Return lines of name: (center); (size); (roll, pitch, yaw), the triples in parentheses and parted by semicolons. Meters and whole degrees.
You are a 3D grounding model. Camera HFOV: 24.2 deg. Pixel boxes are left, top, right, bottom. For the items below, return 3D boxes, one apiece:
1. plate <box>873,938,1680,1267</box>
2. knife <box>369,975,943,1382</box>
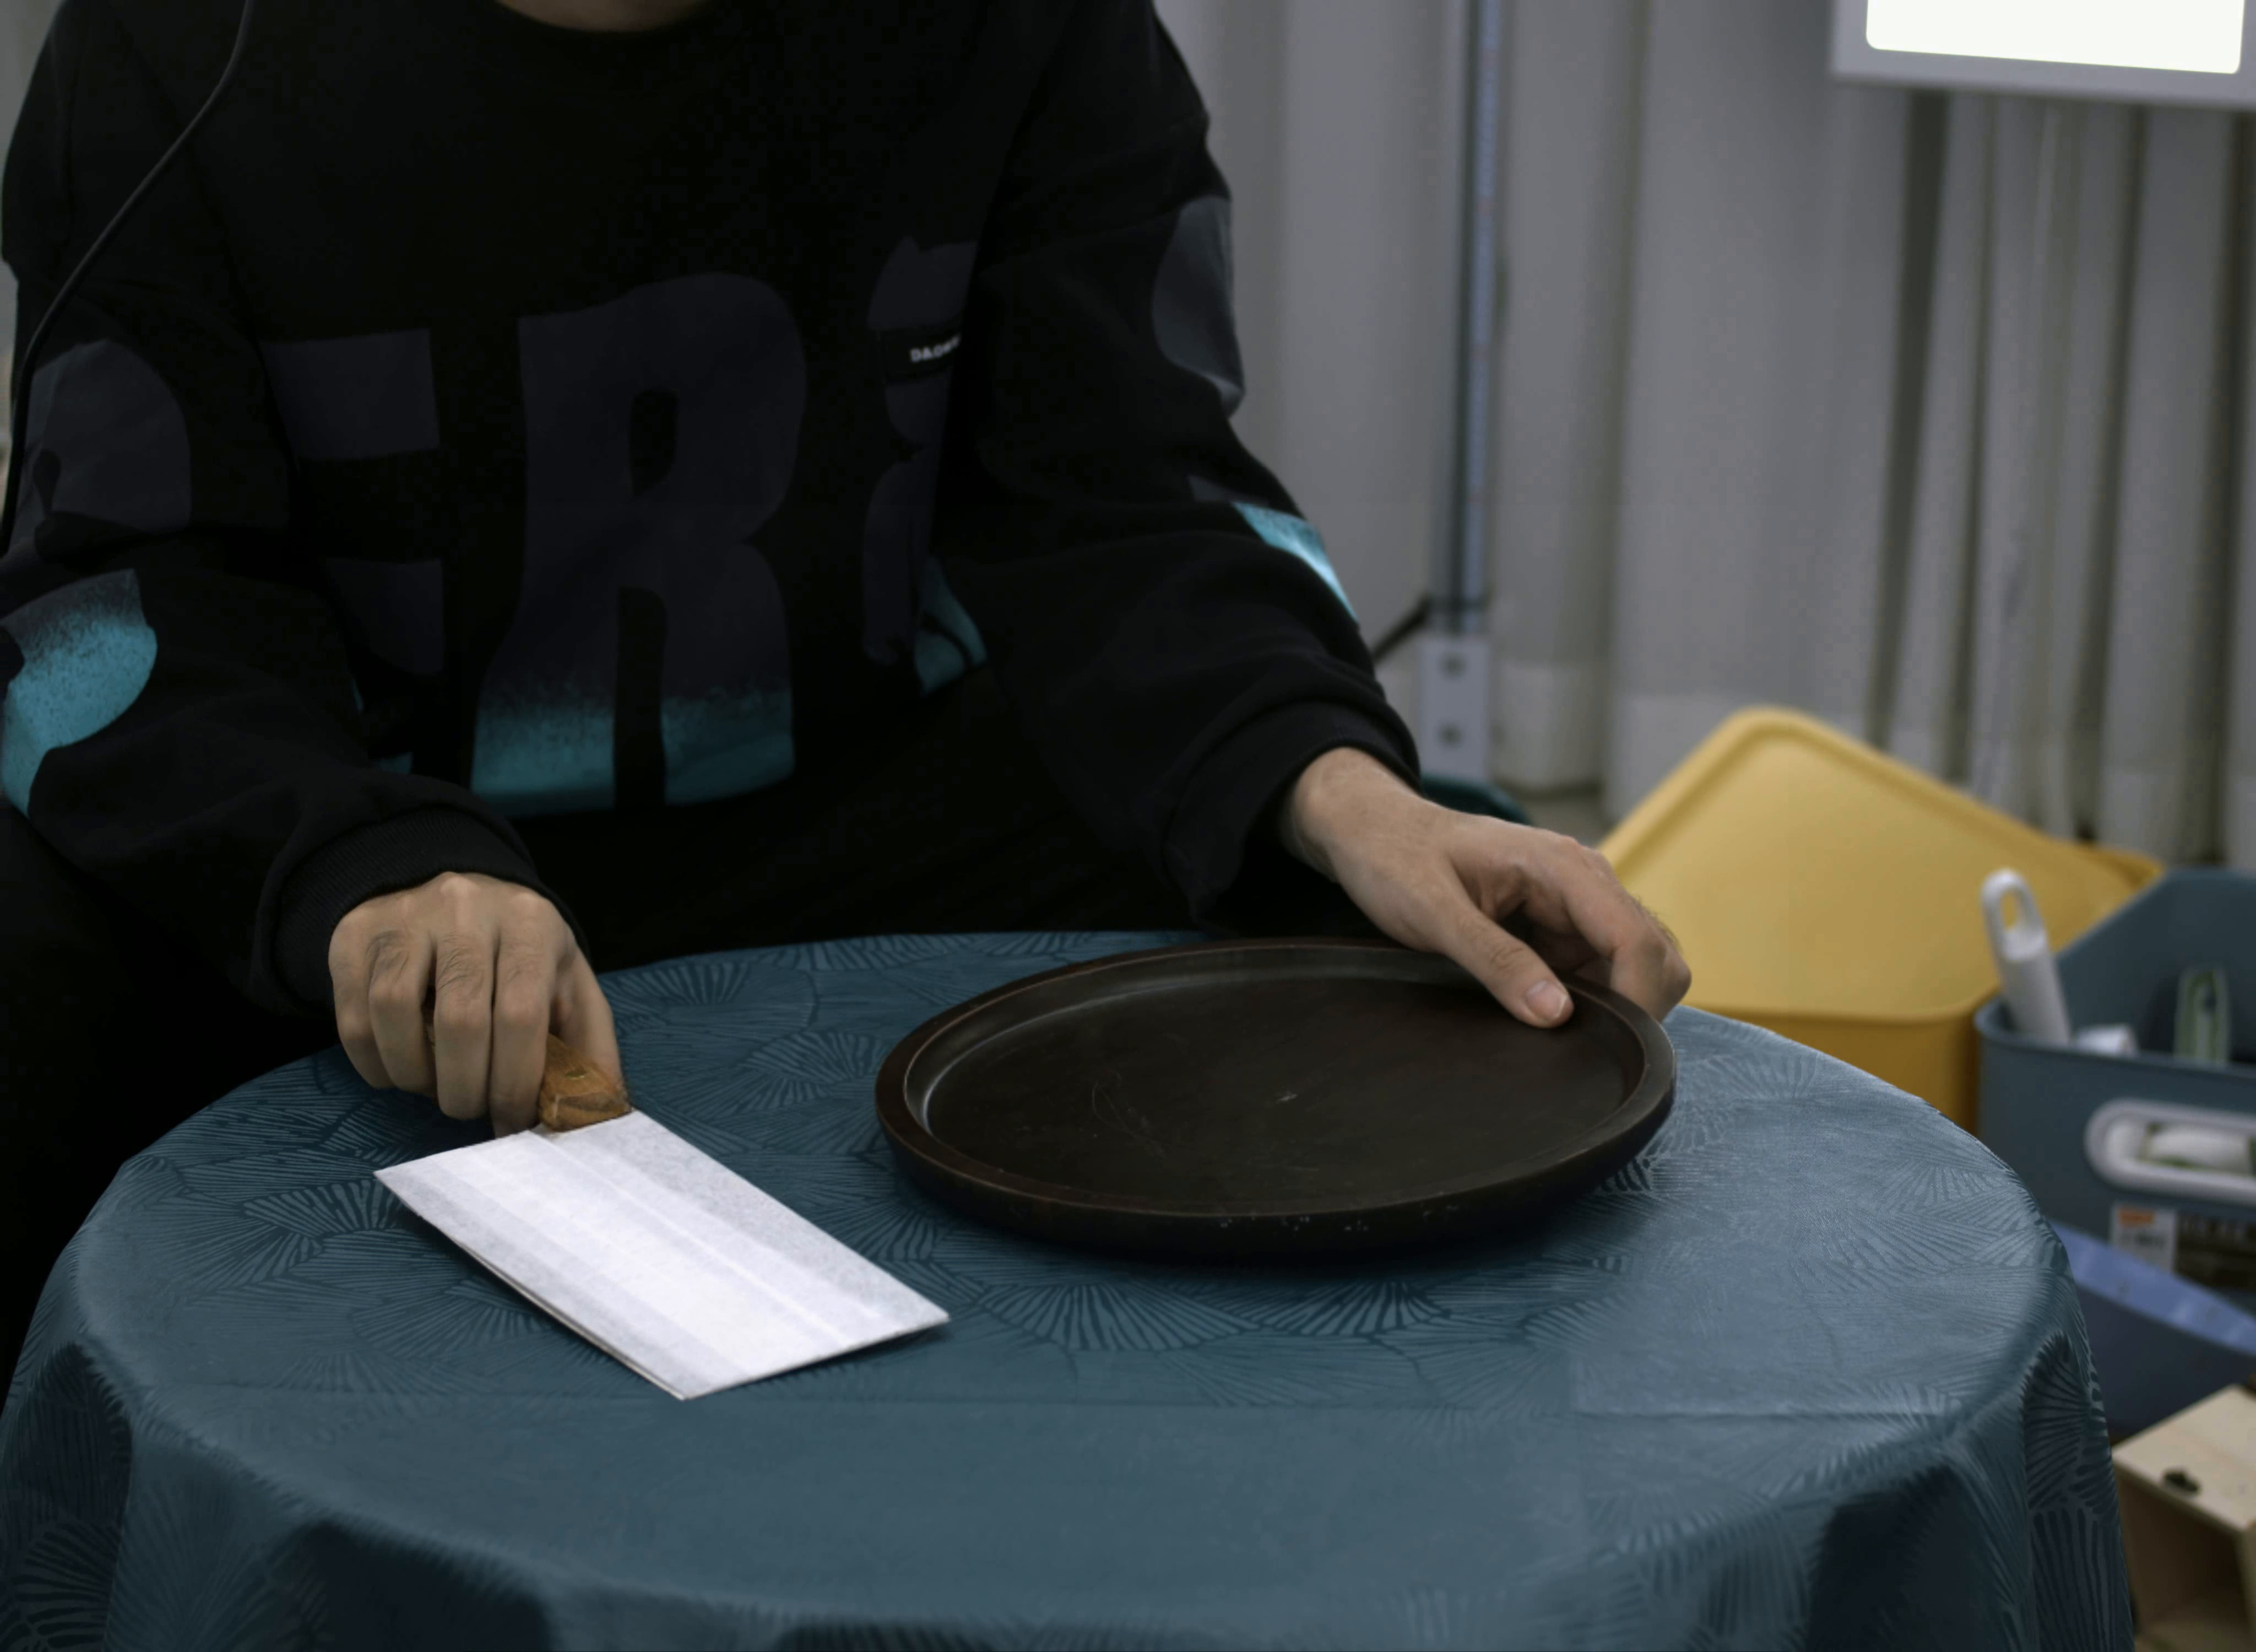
plate: (0.046, 0.084, 1.655); (0.254, 0.029, 0.253); (-3, 19, 2)
knife: (-0.171, 0.106, 1.593); (0.093, 0.021, 0.301); (-14, 25, -32)
